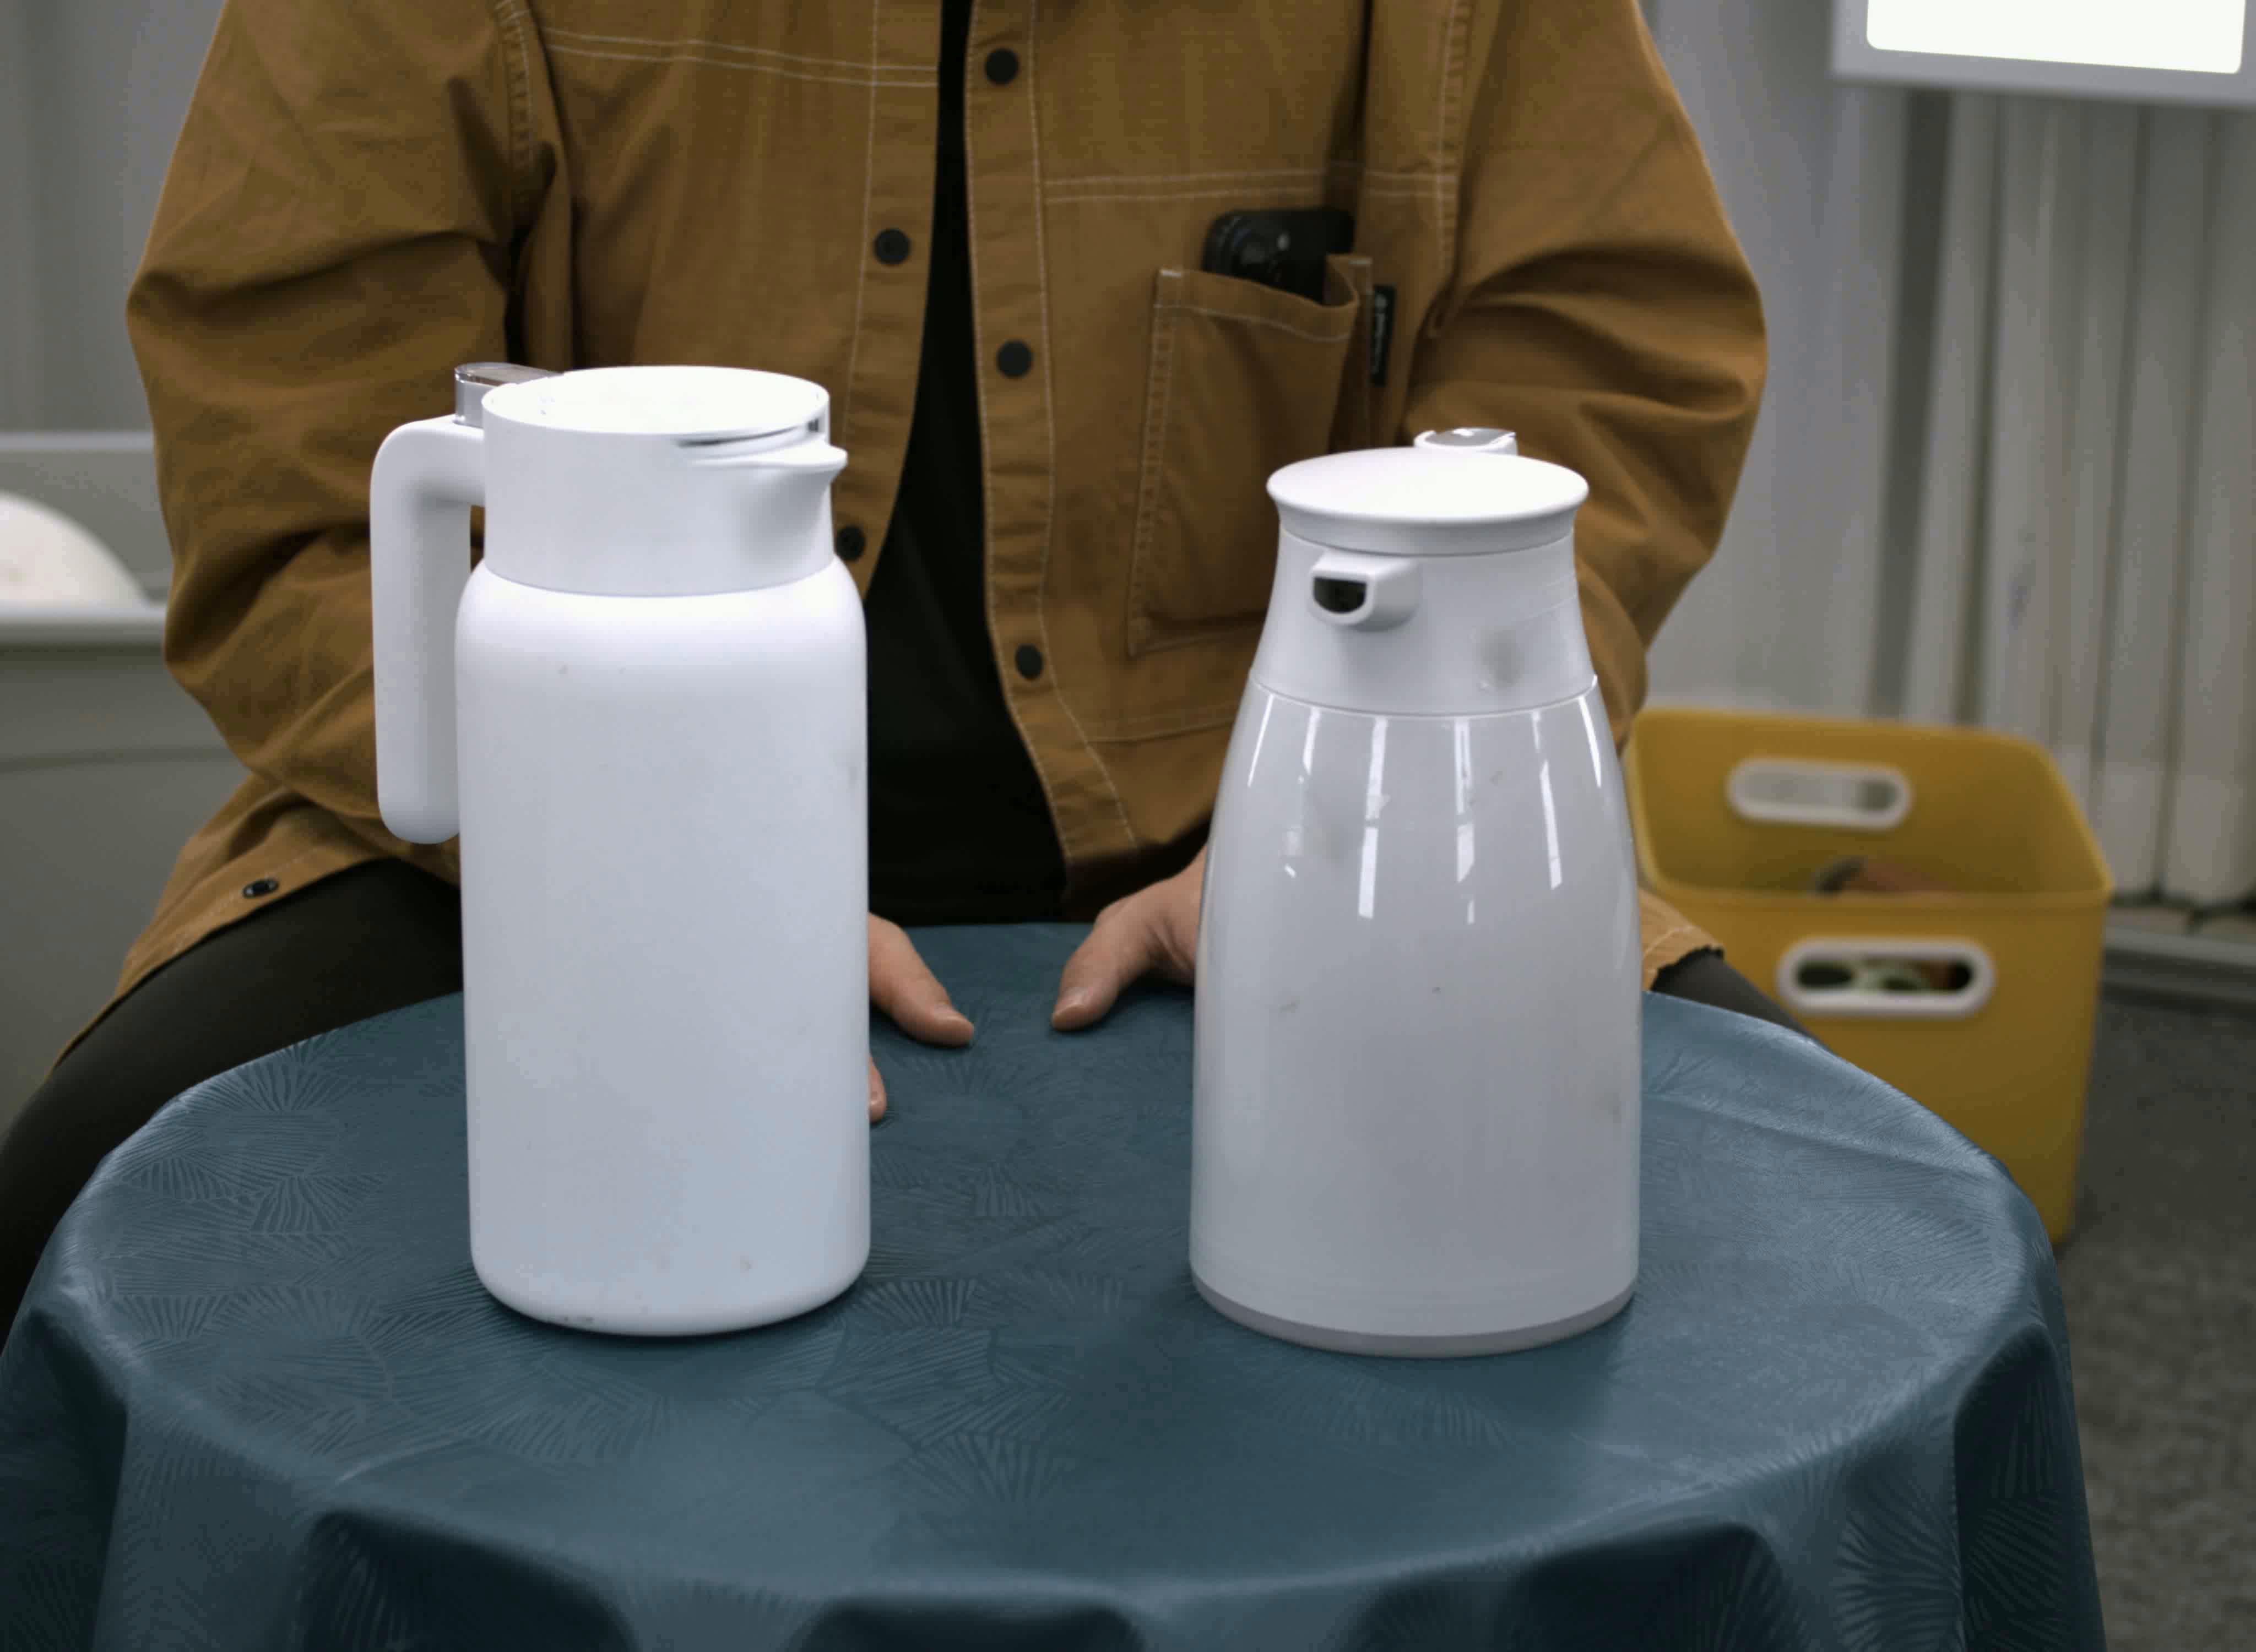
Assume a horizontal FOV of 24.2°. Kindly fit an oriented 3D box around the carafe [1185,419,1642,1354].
[{"bbox_3d":[0.091,0.009,1.532,0.131,0.250,0.168,7,17,23],"label":"carafe"}]

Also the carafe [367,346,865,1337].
[{"bbox_3d":[-0.148,0.002,1.515,0.170,0.271,0.124,12,22,35],"label":"carafe"}]
